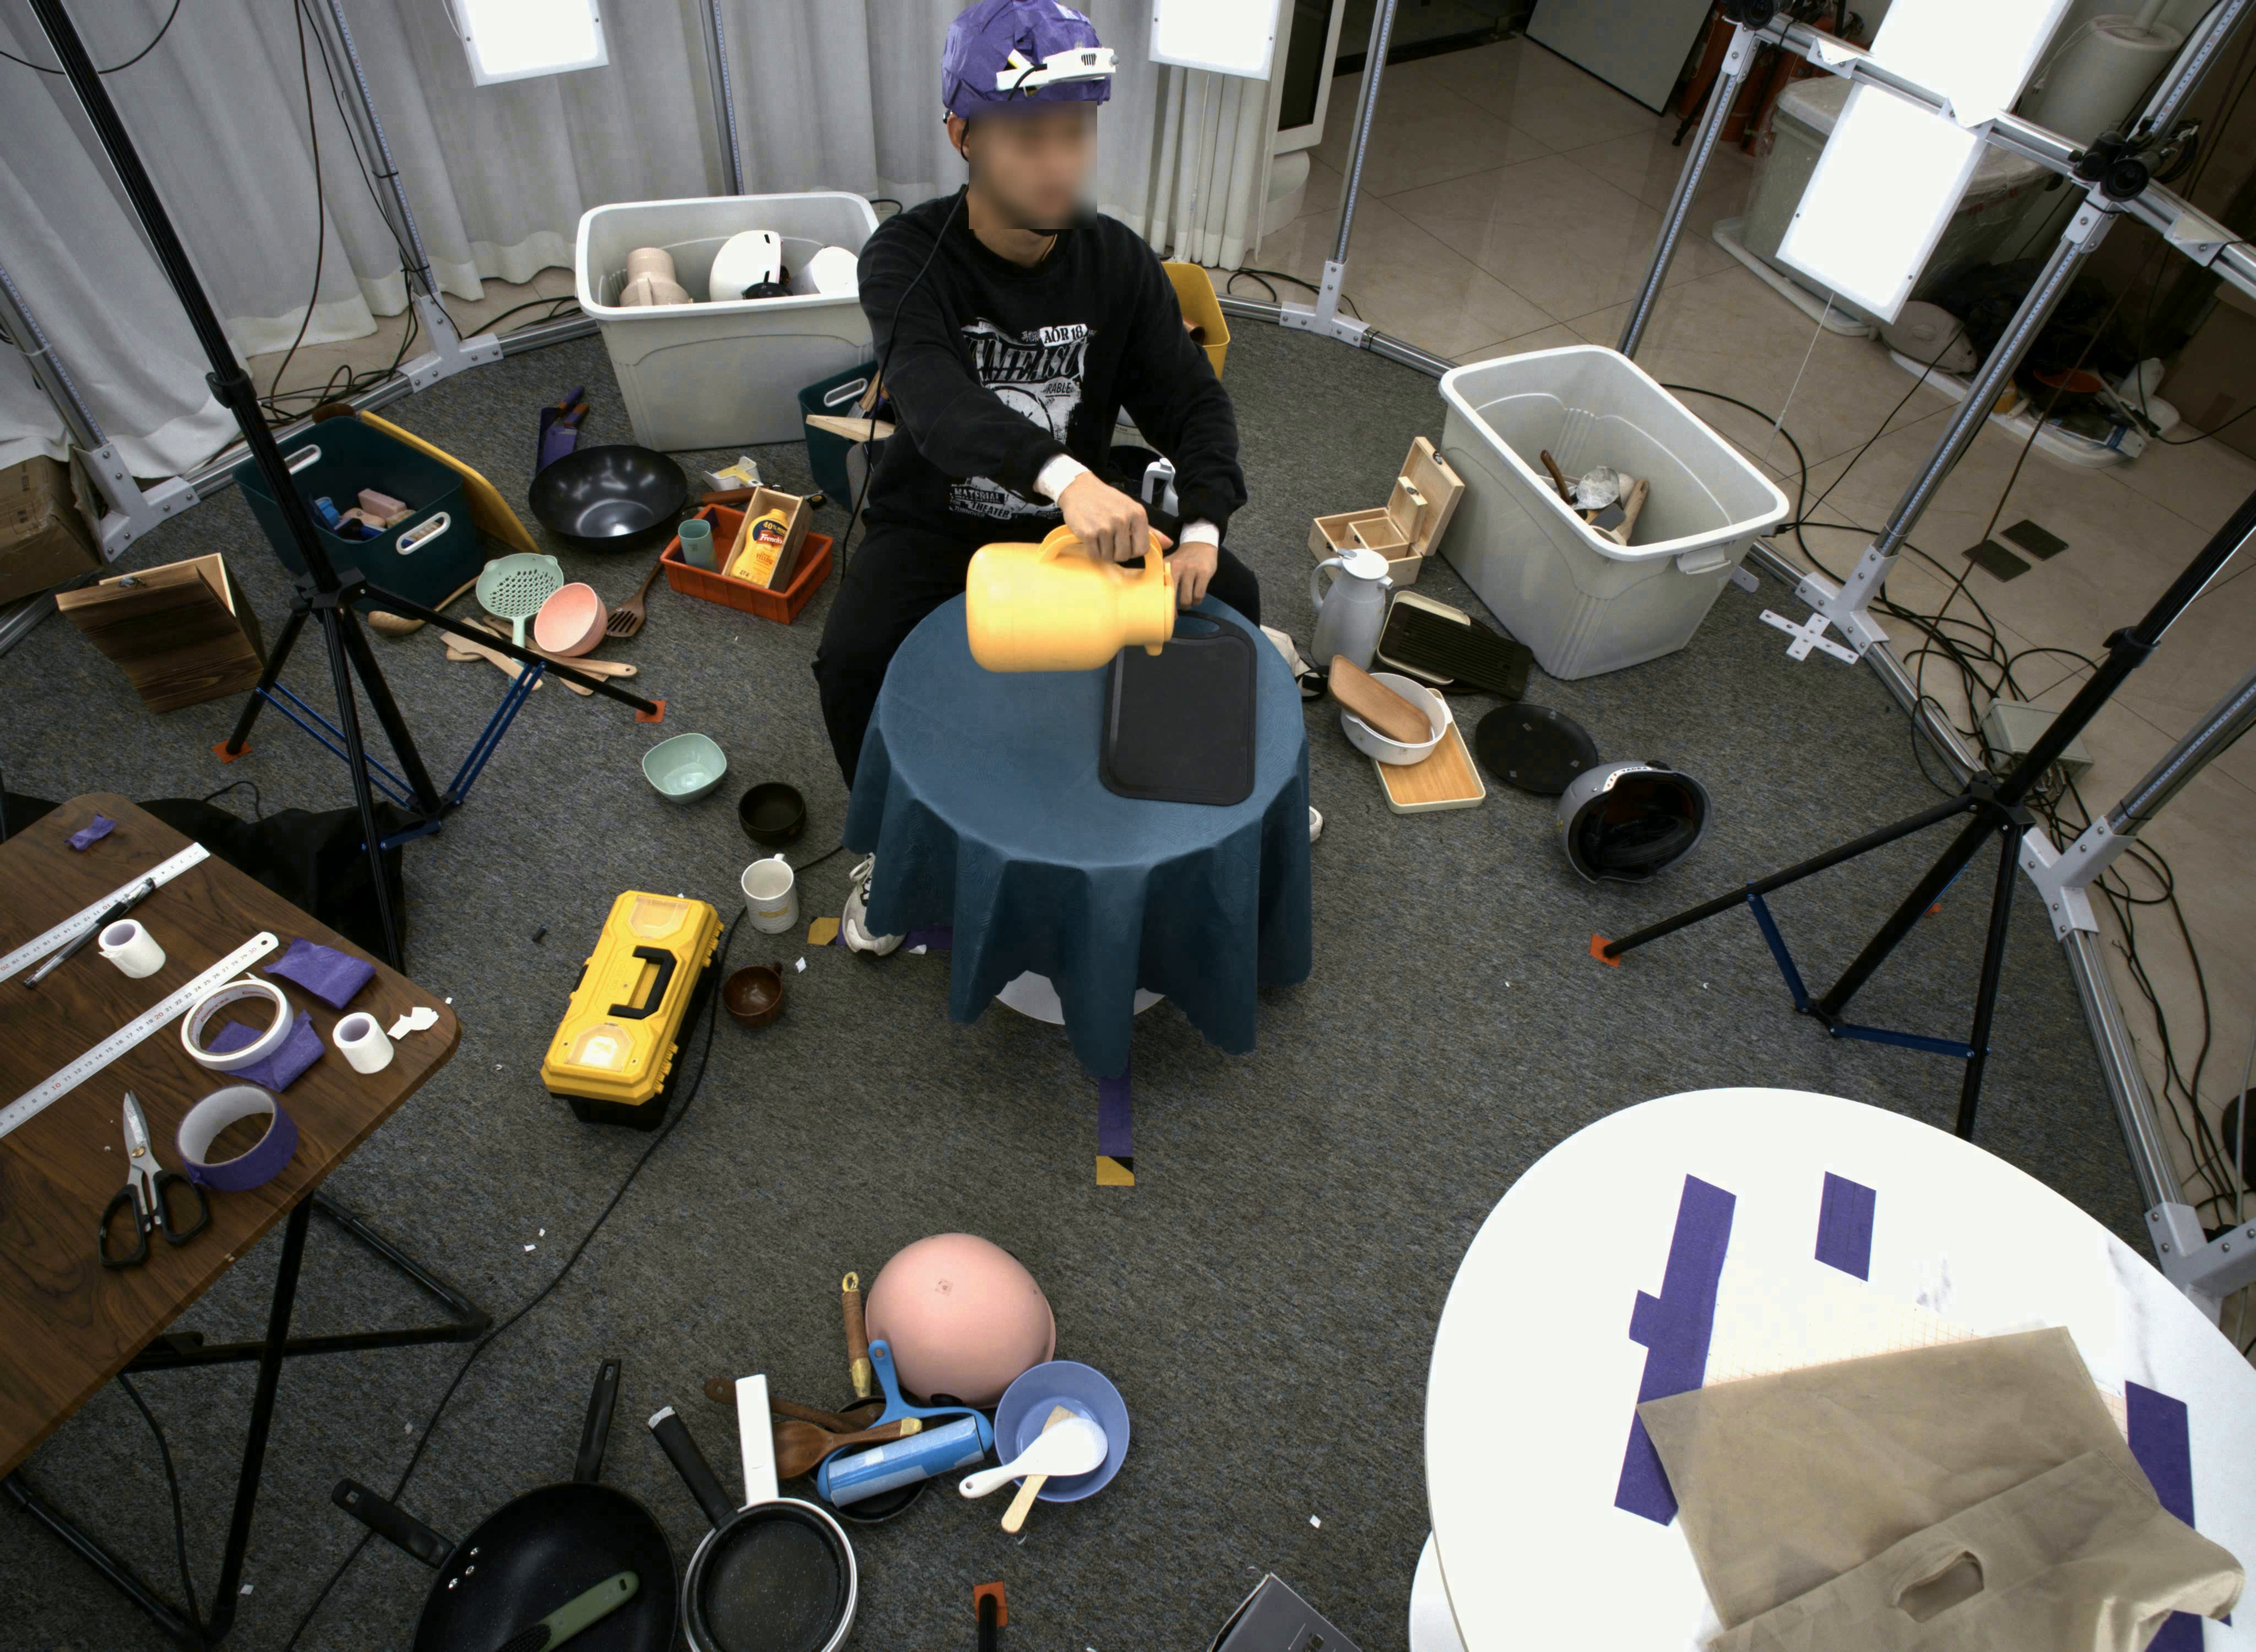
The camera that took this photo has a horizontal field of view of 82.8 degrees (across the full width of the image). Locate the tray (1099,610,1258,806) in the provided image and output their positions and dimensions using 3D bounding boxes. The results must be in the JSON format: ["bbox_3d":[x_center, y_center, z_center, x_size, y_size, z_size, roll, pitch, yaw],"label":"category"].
[{"bbox_3d":[0.074,-0.174,1.785,0.211,0.009,0.332,5,59,0],"label":"tray"}]

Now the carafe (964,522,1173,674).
[{"bbox_3d":[-0.073,-0.289,1.612,0.260,0.197,0.167,-1,44,-3],"label":"carafe"}]
